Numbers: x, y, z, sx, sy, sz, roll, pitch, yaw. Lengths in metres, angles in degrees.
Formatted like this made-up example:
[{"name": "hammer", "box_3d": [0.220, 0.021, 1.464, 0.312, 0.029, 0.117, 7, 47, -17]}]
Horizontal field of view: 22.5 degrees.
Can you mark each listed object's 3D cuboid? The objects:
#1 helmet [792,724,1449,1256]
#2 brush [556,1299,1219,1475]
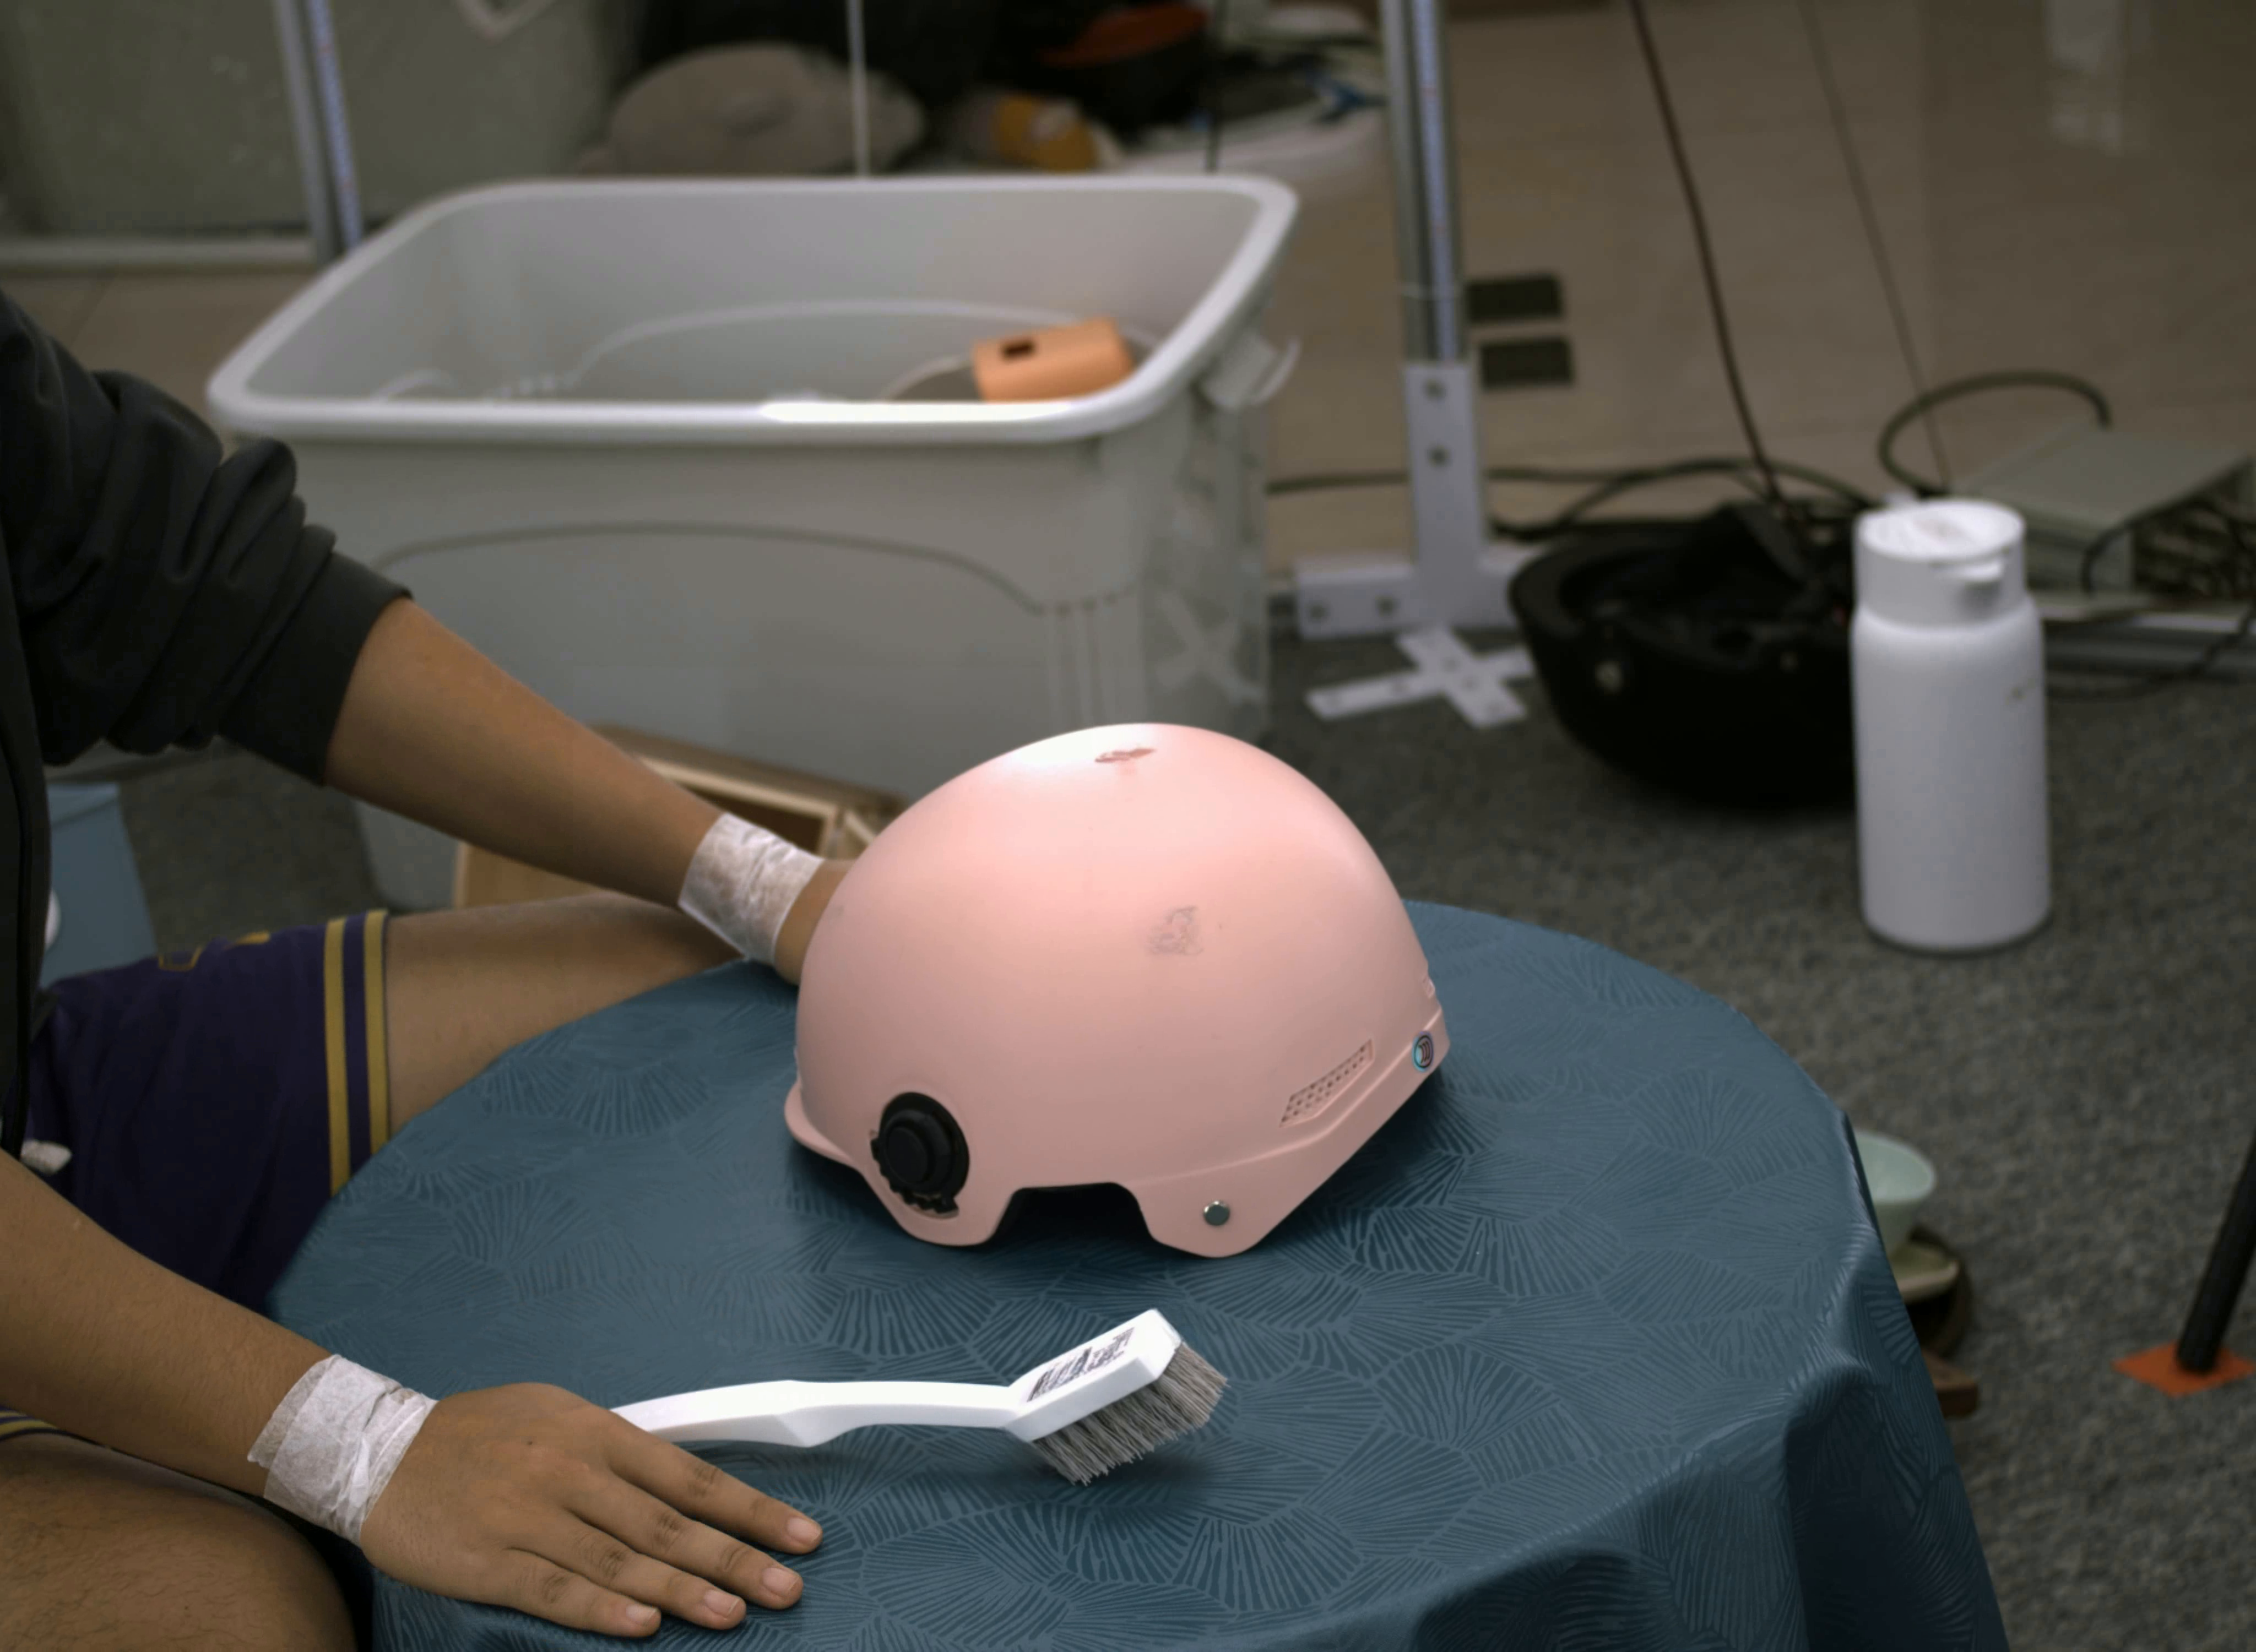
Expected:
[{"name": "helmet", "box_3d": [-0.015, 0.046, 2.169, 0.265, 0.161, 0.231, 2, 27, 27]}, {"name": "brush", "box_3d": [-0.085, 0.213, 1.983, 0.244, 0.051, 0.034, -13, 26, 19]}]
